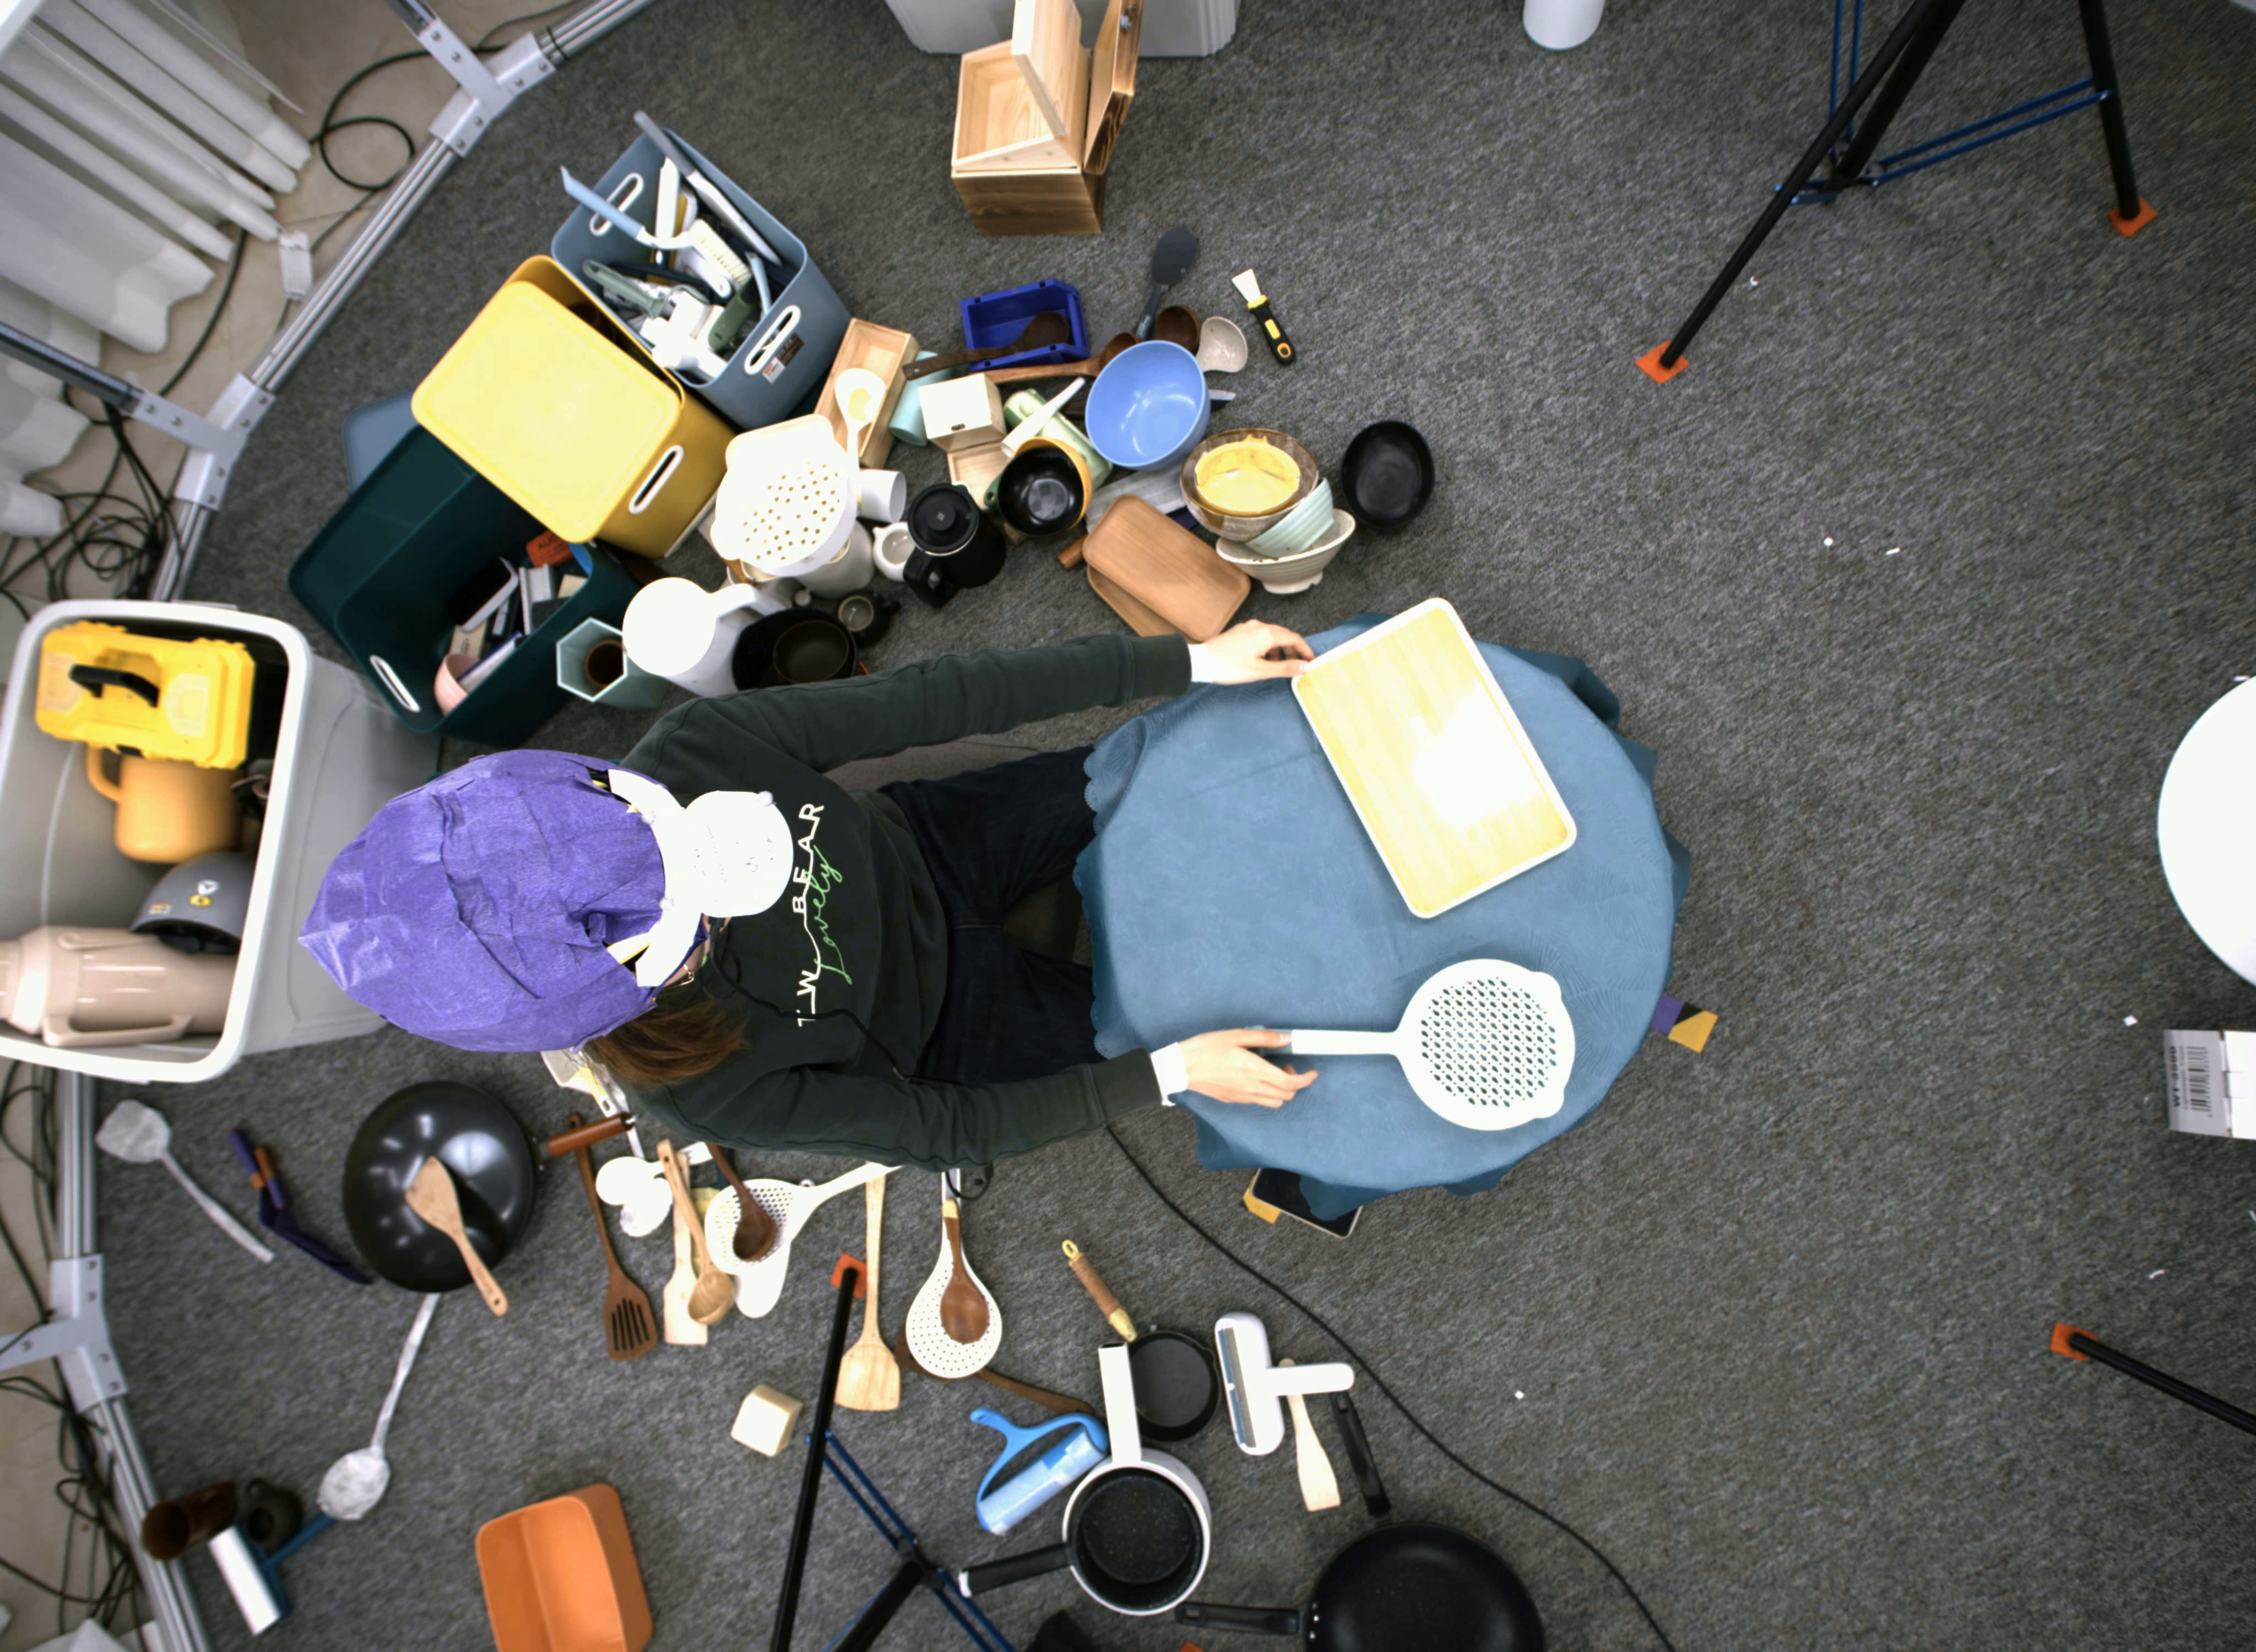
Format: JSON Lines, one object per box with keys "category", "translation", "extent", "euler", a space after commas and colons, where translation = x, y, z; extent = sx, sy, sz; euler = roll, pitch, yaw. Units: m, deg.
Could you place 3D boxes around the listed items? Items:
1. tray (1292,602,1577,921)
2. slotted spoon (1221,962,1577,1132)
{"category": "tray", "translation": [0.320, -0.070, 1.452], "extent": [0.192, 0.027, 0.298], "euler": [-28, 81, 7]}
{"category": "slotted spoon", "translation": [0.271, 0.223, 1.421], "extent": [0.360, 0.075, 0.168], "euler": [-1, 85, 10]}
